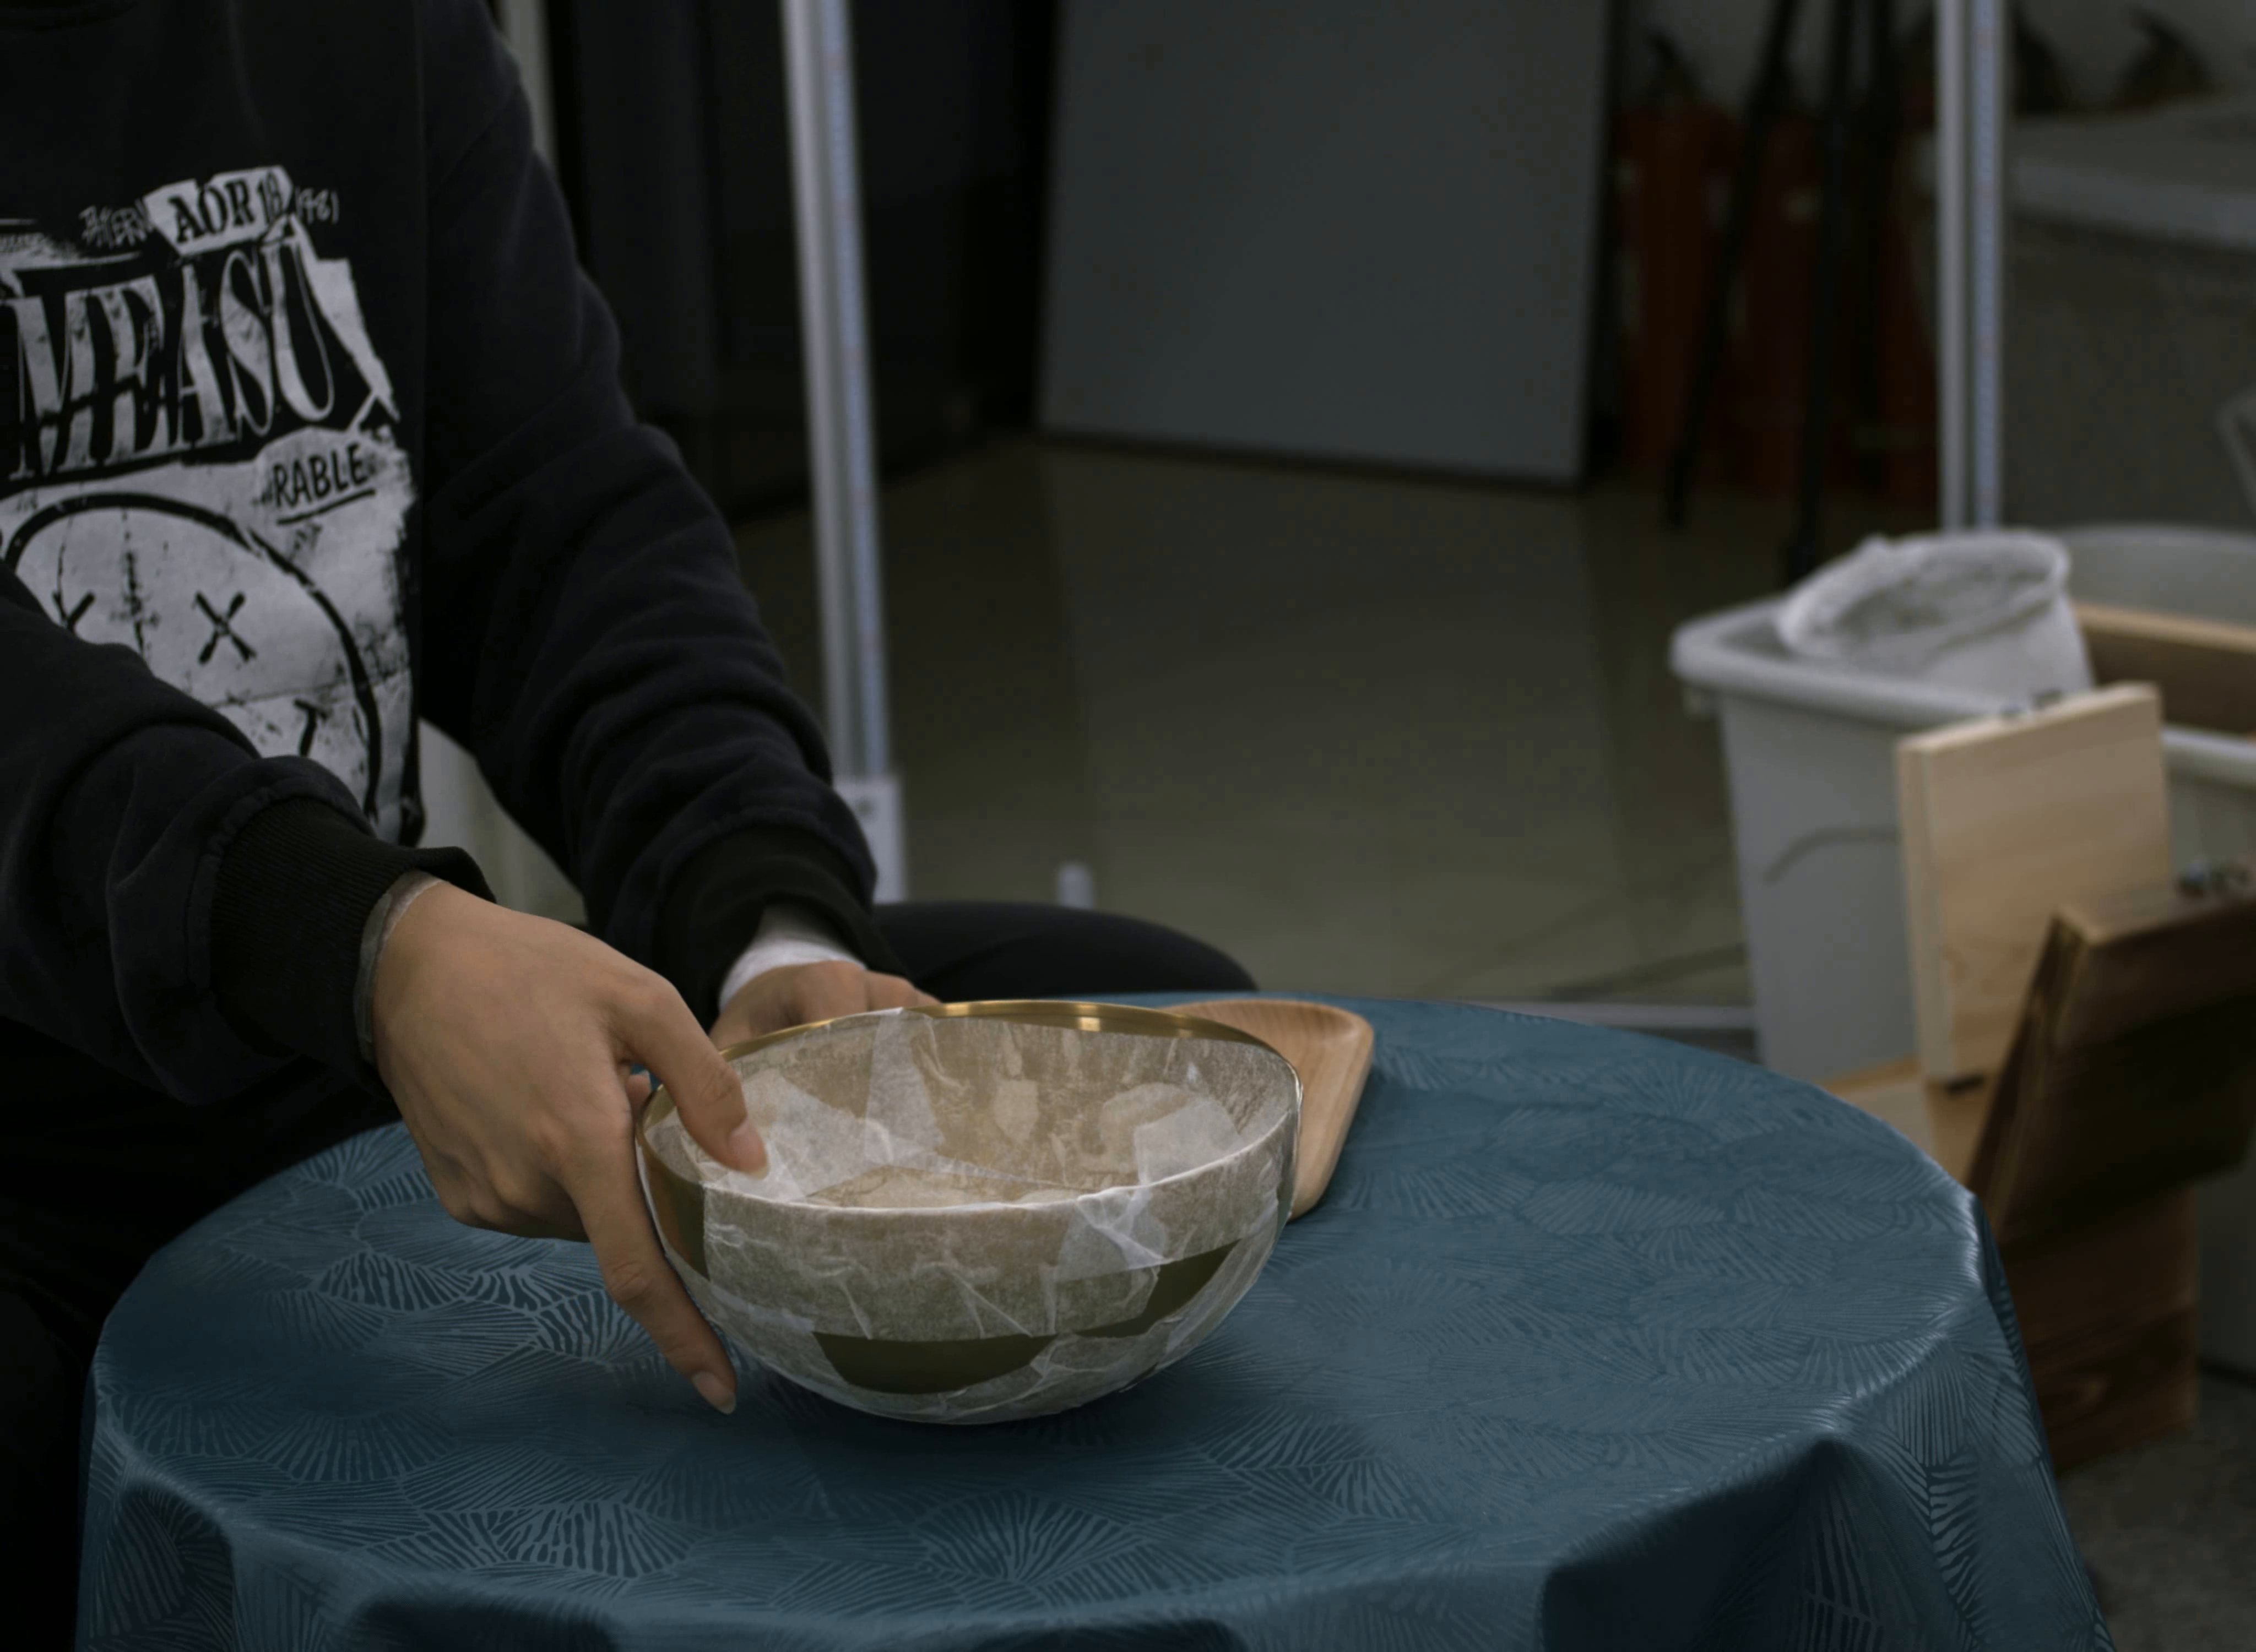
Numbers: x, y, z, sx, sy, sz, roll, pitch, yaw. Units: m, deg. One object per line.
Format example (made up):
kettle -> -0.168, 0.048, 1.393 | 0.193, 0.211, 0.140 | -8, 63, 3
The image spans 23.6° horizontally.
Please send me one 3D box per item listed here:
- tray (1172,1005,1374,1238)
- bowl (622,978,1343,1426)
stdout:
tray -> 0.028, 0.100, 1.816 | 0.101, 0.020, 0.230 | -4, 16, 9
bowl -> -0.042, 0.120, 1.592 | 0.212, 0.095, 0.215 | -4, 15, 0
